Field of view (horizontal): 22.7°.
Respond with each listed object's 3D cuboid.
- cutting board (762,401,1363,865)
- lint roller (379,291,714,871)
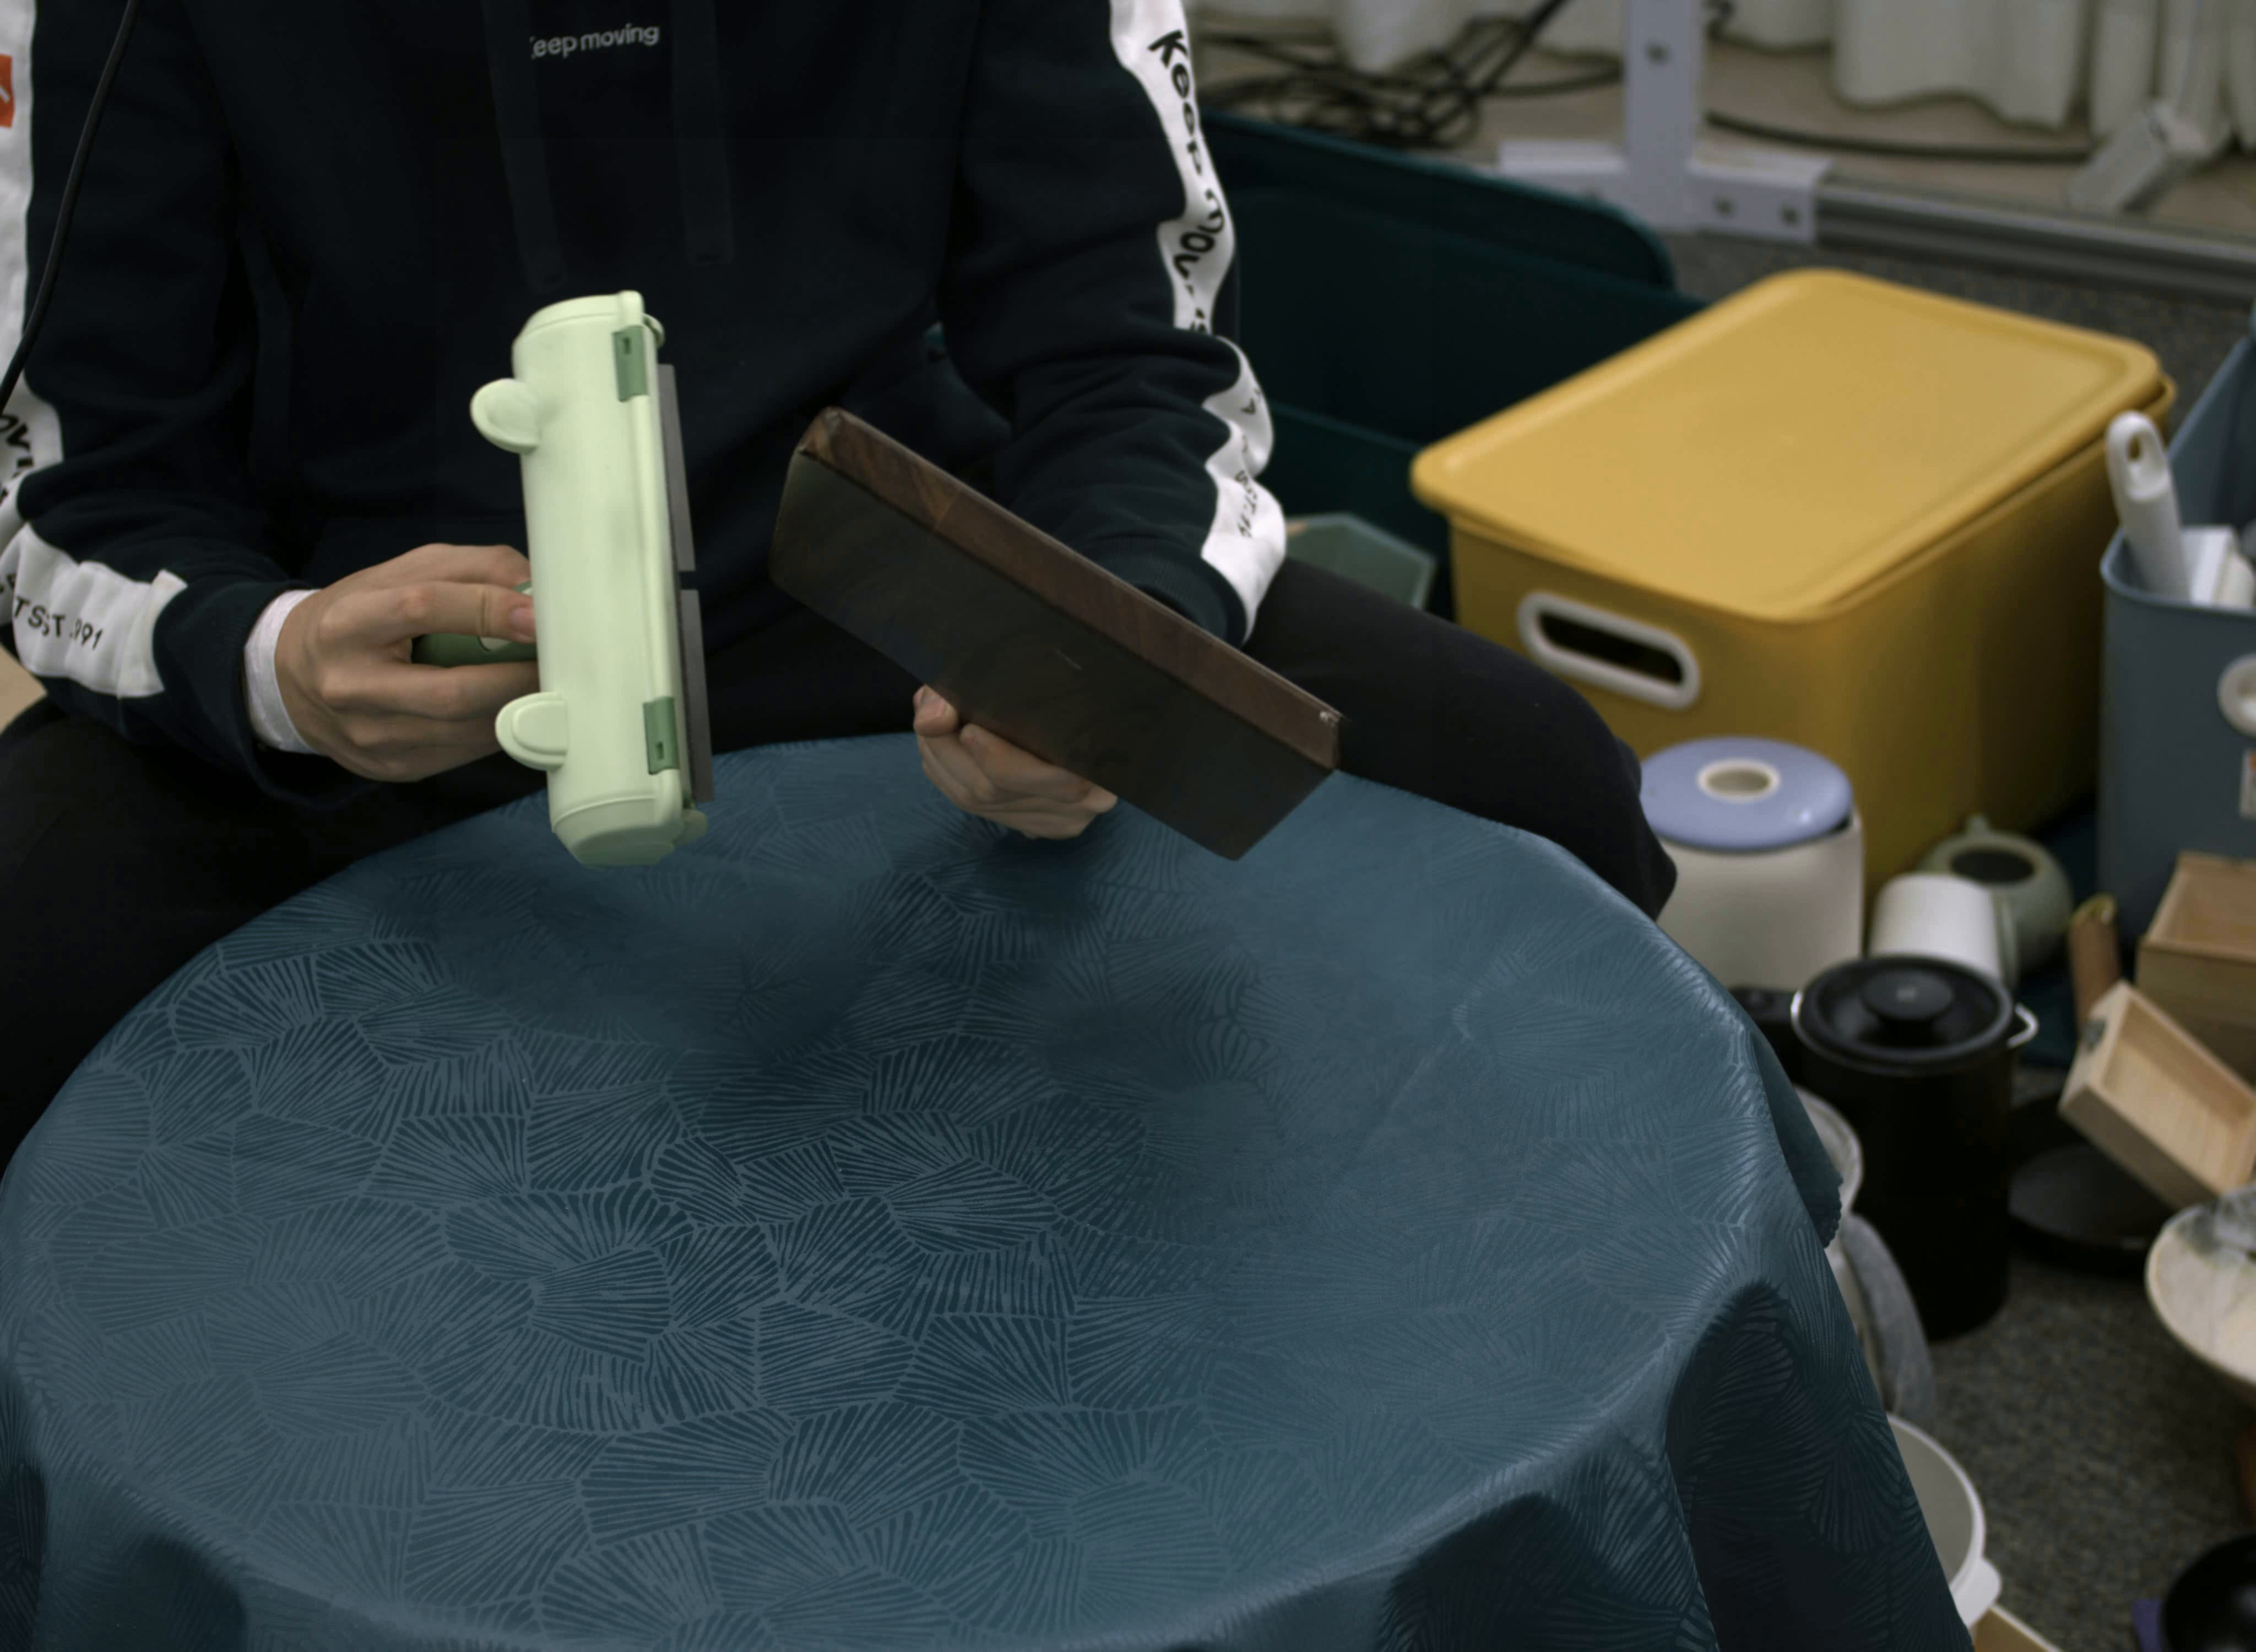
[{"bbox_3d":[-0.033,-0.053,1.908,0.200,0.023,0.350,32,-10,-2],"label":"cutting board"},{"bbox_3d":[-0.224,-0.071,1.981,0.180,0.201,0.082,-20,-22,38],"label":"lint roller"}]
